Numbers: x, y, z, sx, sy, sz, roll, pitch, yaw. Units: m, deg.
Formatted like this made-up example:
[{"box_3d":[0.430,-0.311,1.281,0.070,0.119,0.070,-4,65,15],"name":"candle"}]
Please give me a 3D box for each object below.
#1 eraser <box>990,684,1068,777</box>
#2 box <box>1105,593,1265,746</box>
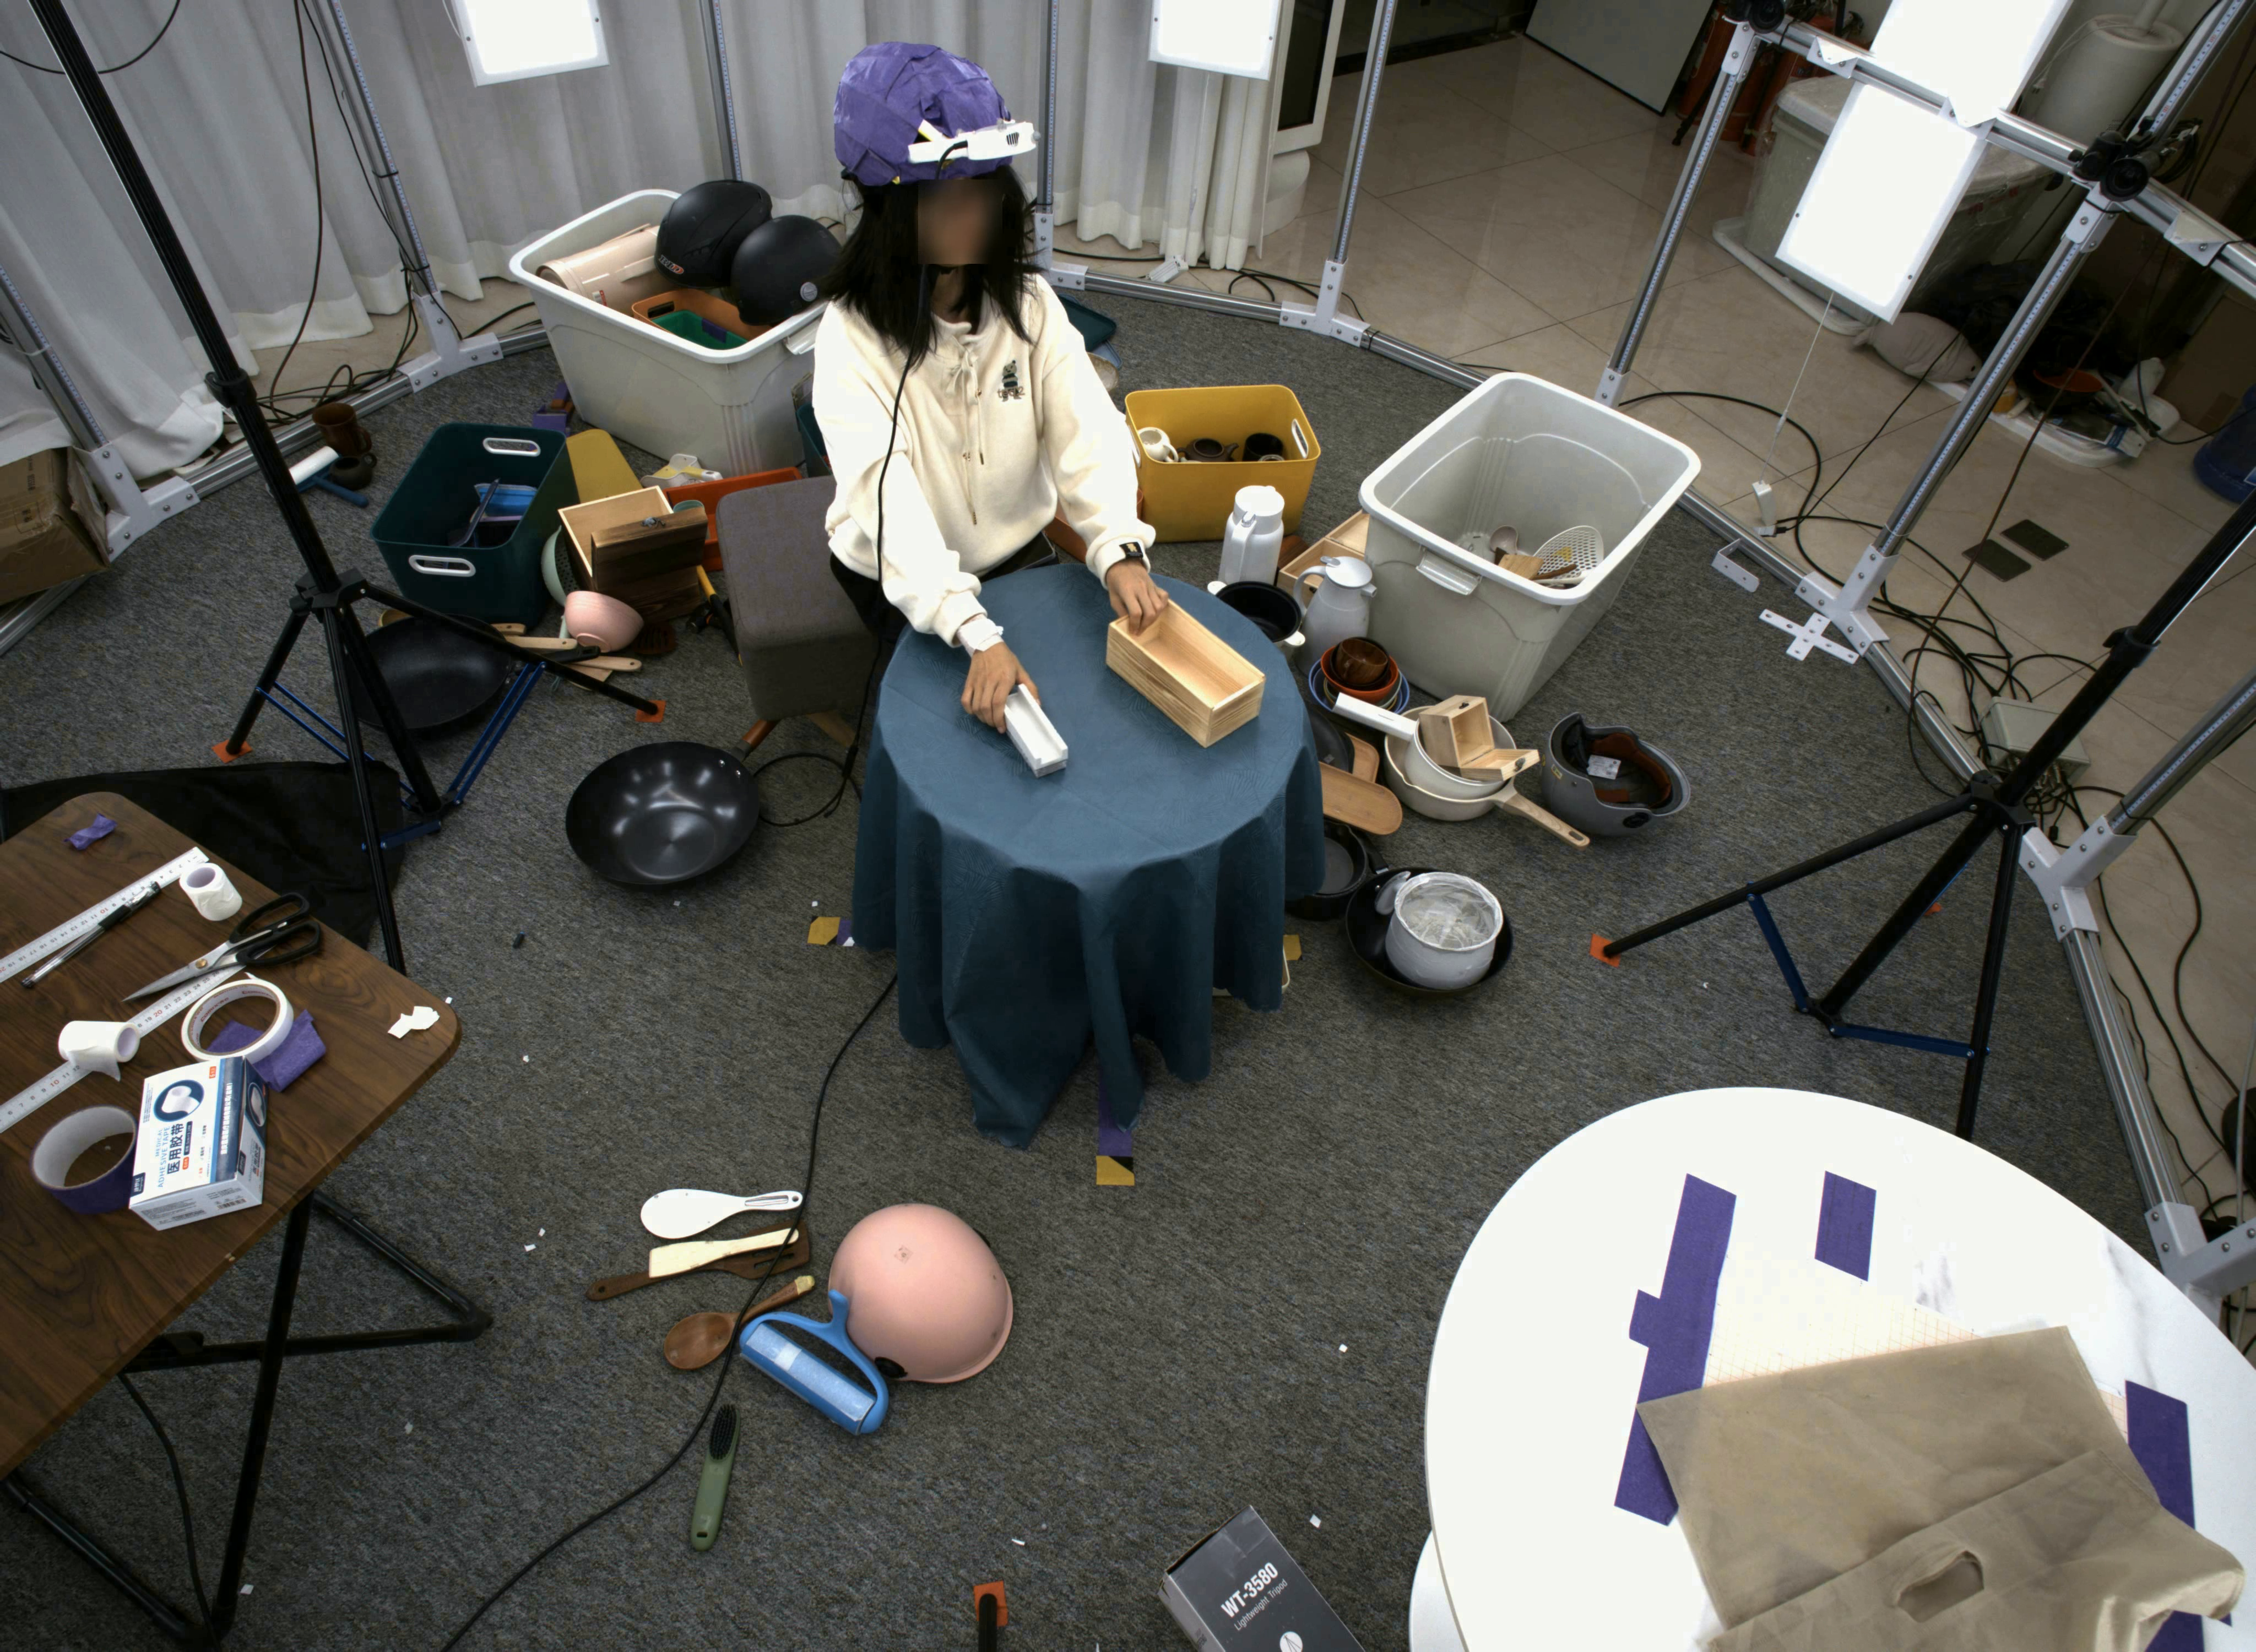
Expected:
[{"box_3d":[-0.136,-0.130,1.743,0.050,0.045,0.137,-24,56,-20],"name":"eraser"},{"box_3d":[0.077,-0.224,1.815,0.108,0.078,0.215,-32,60,-29],"name":"box"}]
